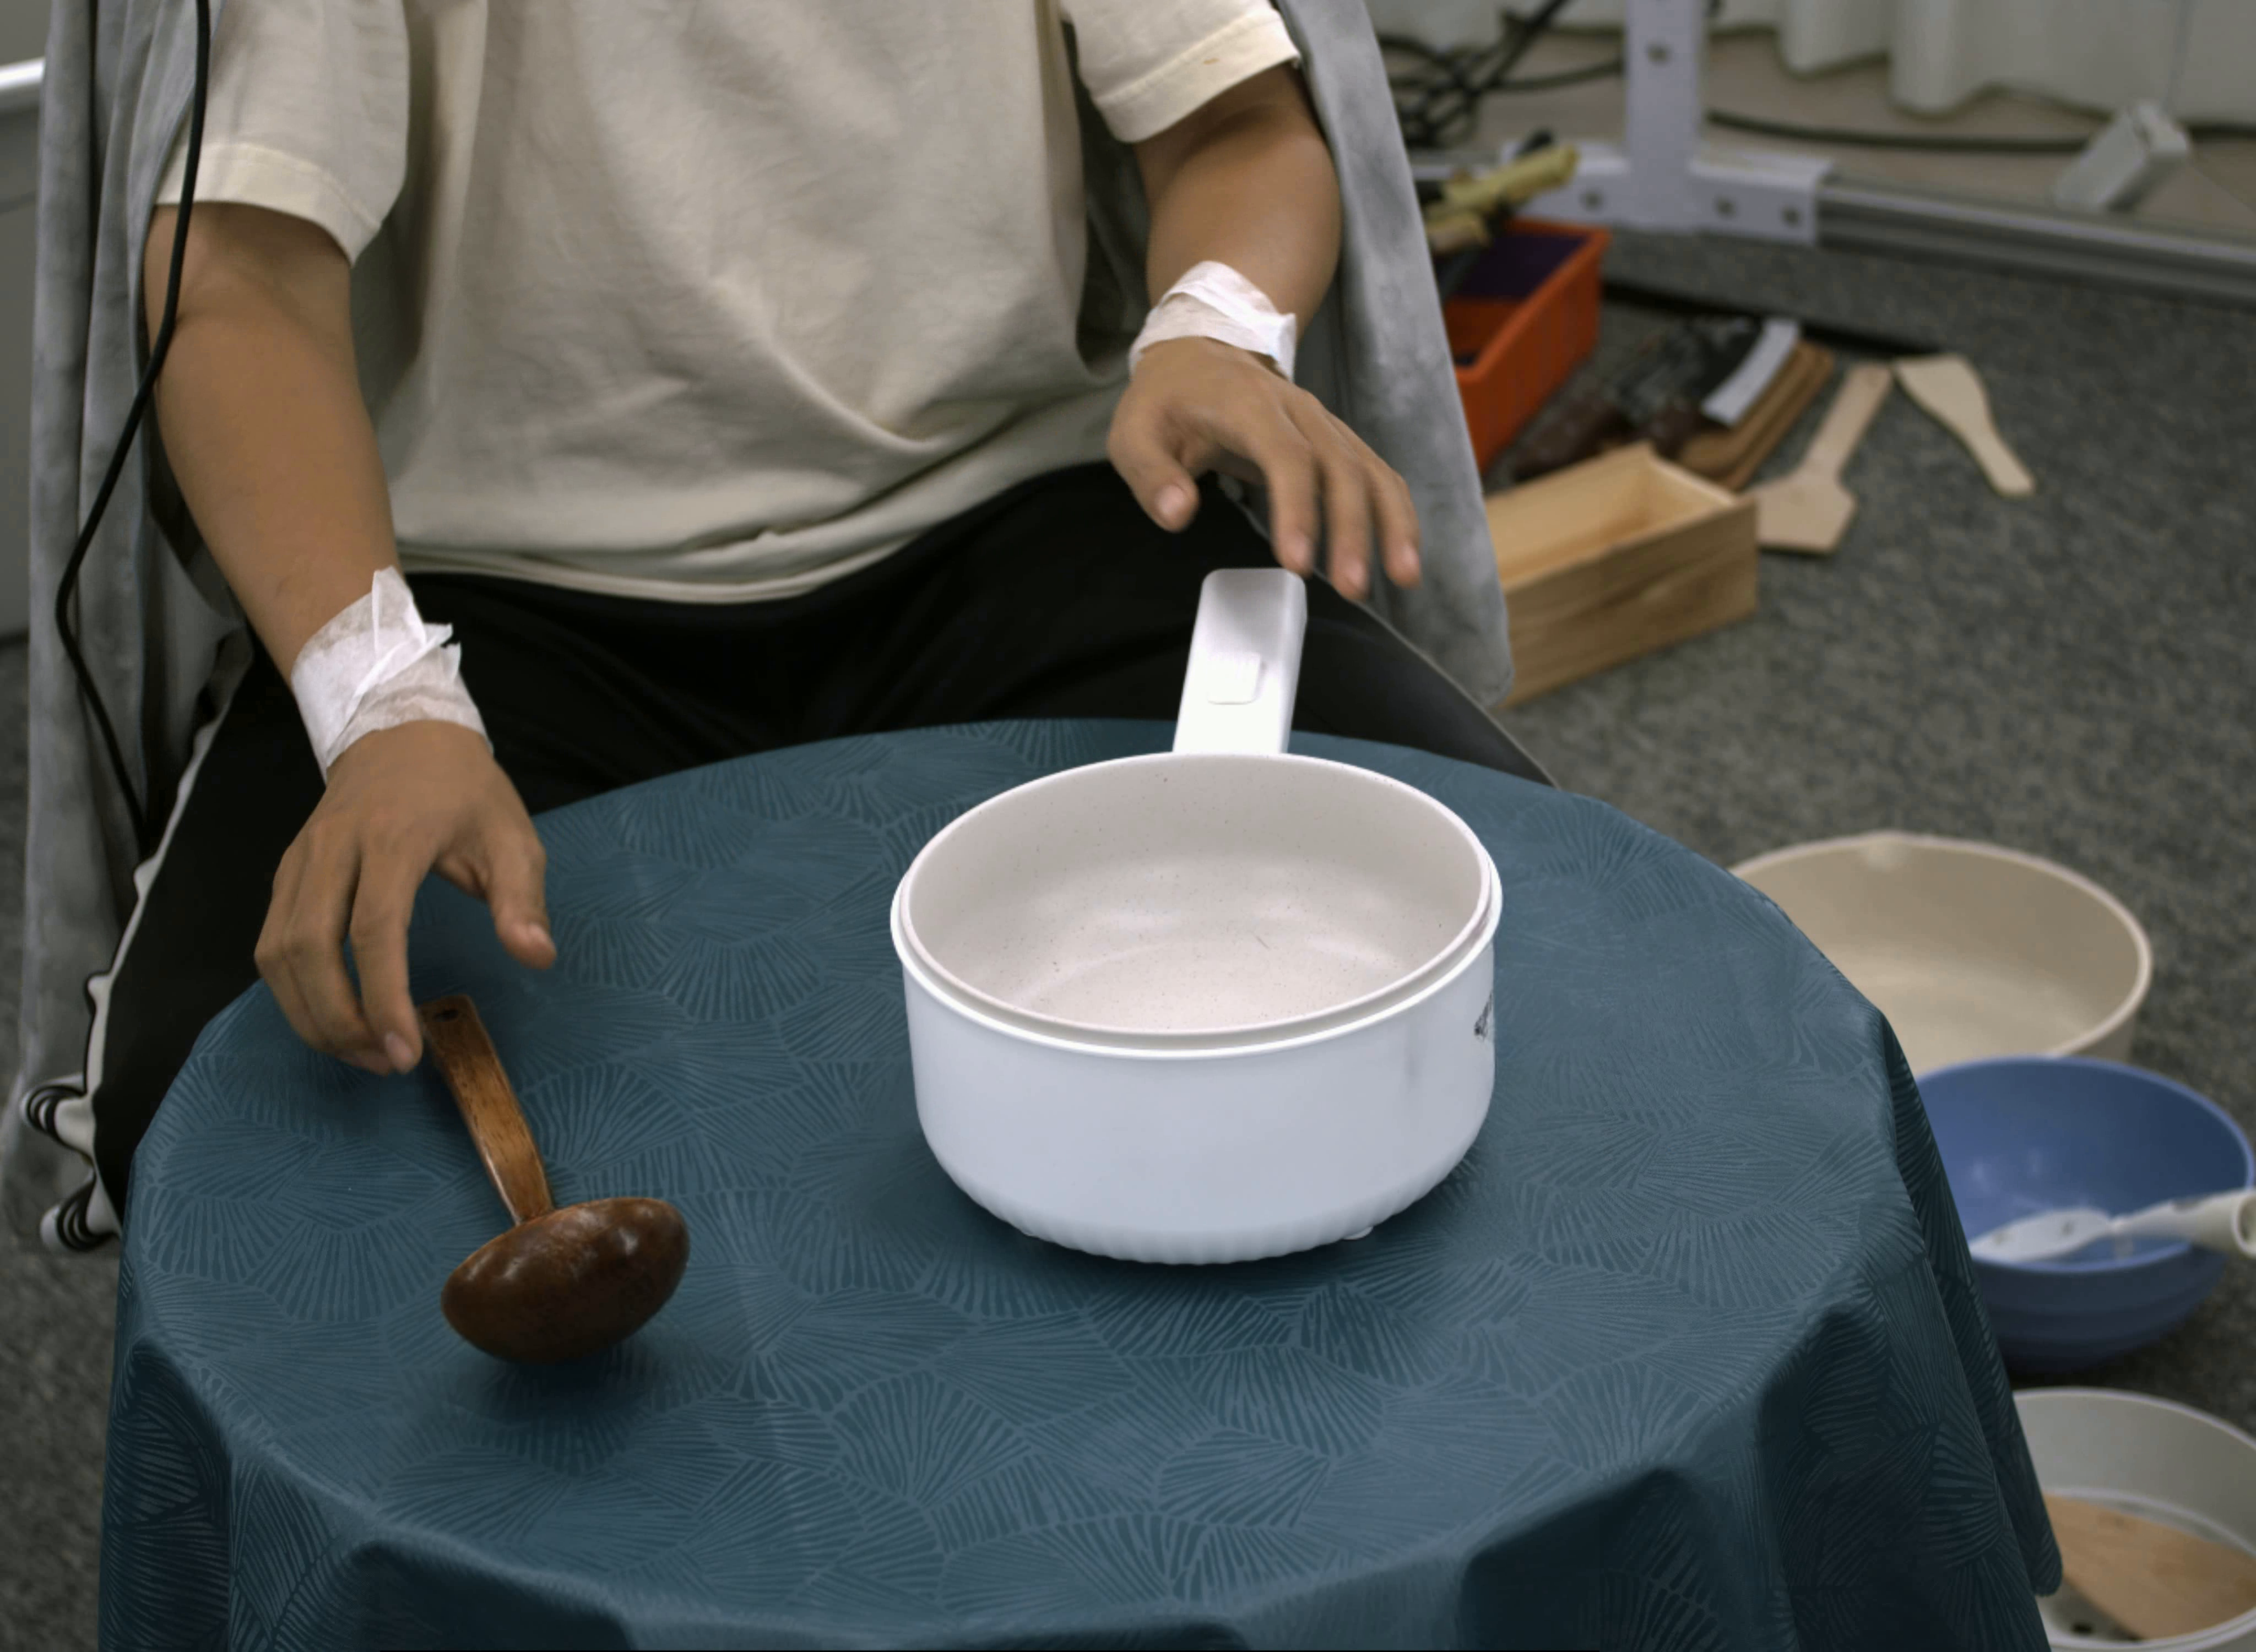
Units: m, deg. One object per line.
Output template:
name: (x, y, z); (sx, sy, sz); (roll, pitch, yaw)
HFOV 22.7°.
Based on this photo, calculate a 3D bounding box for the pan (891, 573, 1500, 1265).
pan: (0.033, 0.029, 1.932); (0.200, 0.101, 0.360); (-1, 26, 7)

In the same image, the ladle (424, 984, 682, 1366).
ladle: (-0.206, 0.095, 1.846); (0.082, 0.076, 0.277); (-11, 29, -11)
